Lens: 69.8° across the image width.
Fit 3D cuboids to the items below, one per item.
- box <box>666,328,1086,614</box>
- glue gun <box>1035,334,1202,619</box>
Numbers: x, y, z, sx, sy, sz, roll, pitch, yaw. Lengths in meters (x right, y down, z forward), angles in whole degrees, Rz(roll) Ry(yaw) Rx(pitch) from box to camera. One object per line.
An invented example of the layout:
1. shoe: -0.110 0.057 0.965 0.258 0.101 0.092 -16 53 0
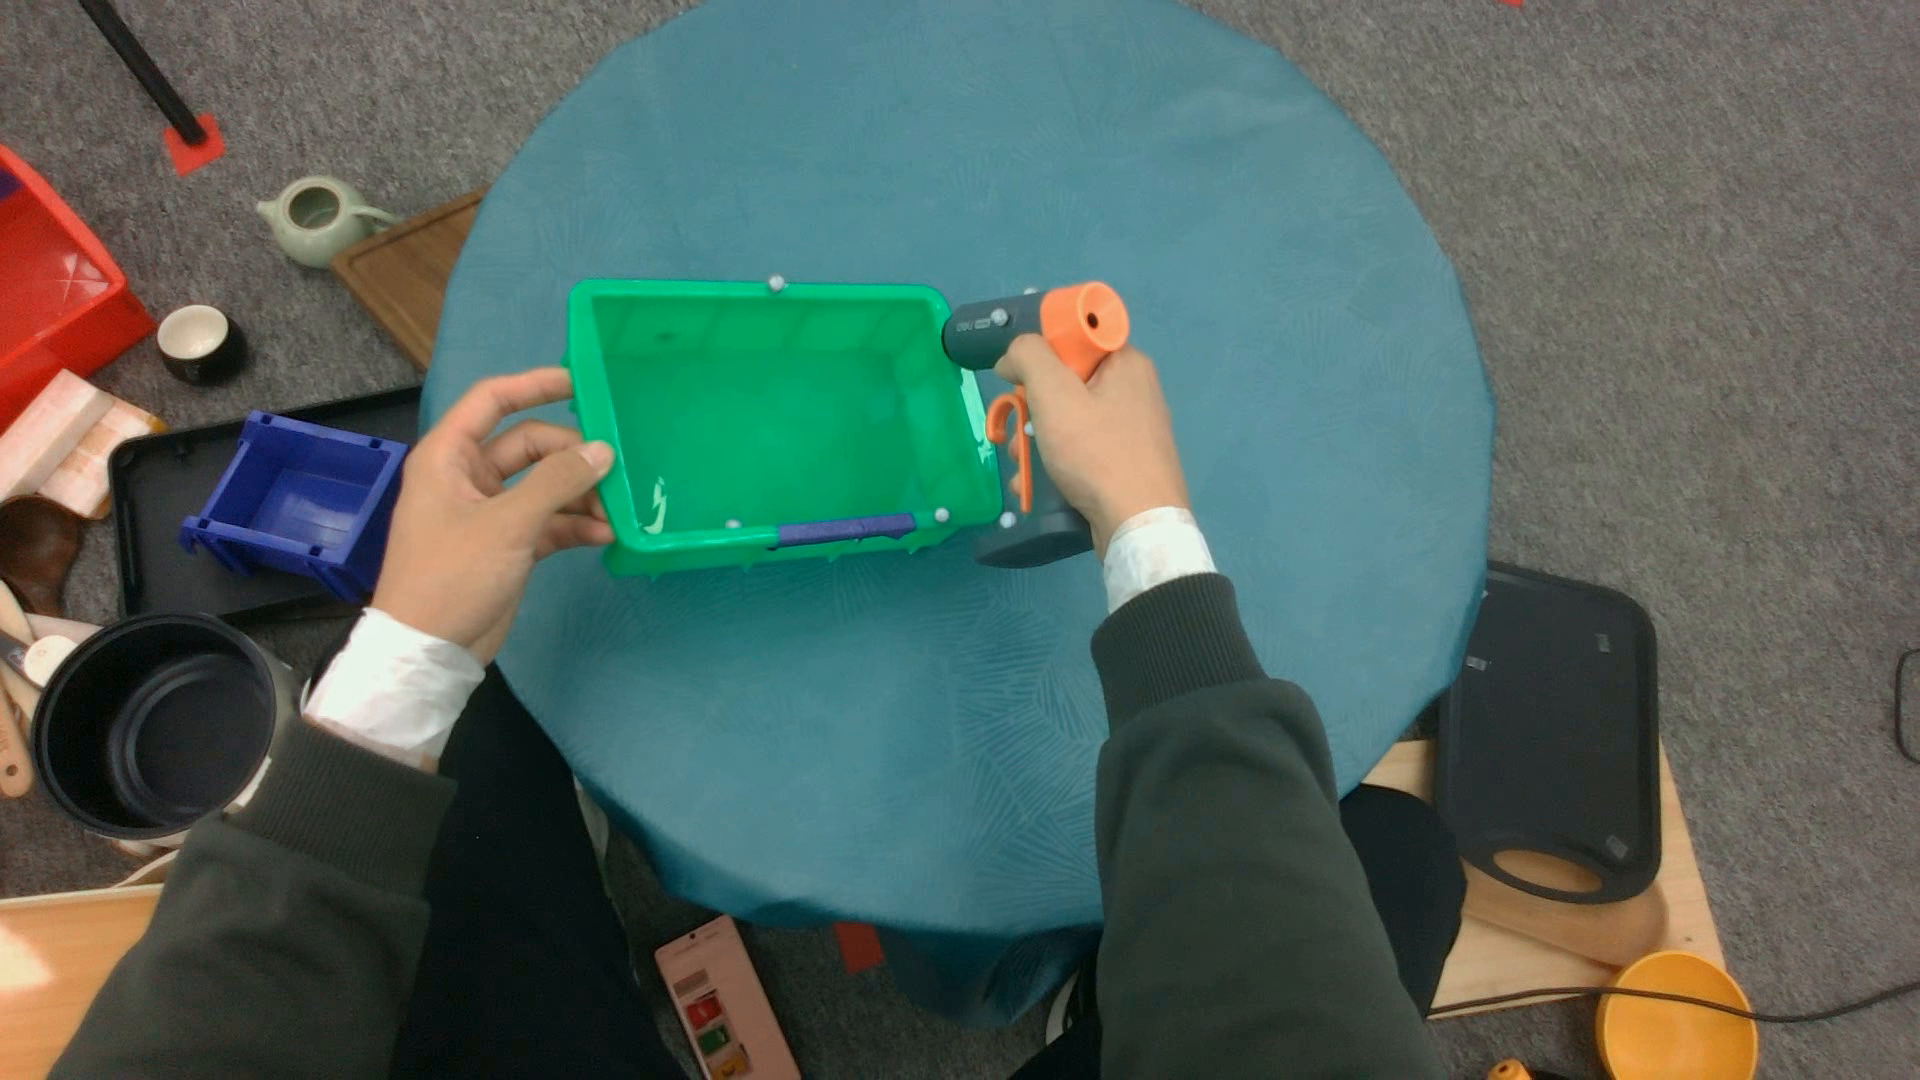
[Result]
1. box: -0.047 -0.034 0.715 0.211 0.065 0.139 -4 70 -29
2. glue gun: 0.073 -0.036 0.677 0.041 0.117 0.140 9 69 -27
